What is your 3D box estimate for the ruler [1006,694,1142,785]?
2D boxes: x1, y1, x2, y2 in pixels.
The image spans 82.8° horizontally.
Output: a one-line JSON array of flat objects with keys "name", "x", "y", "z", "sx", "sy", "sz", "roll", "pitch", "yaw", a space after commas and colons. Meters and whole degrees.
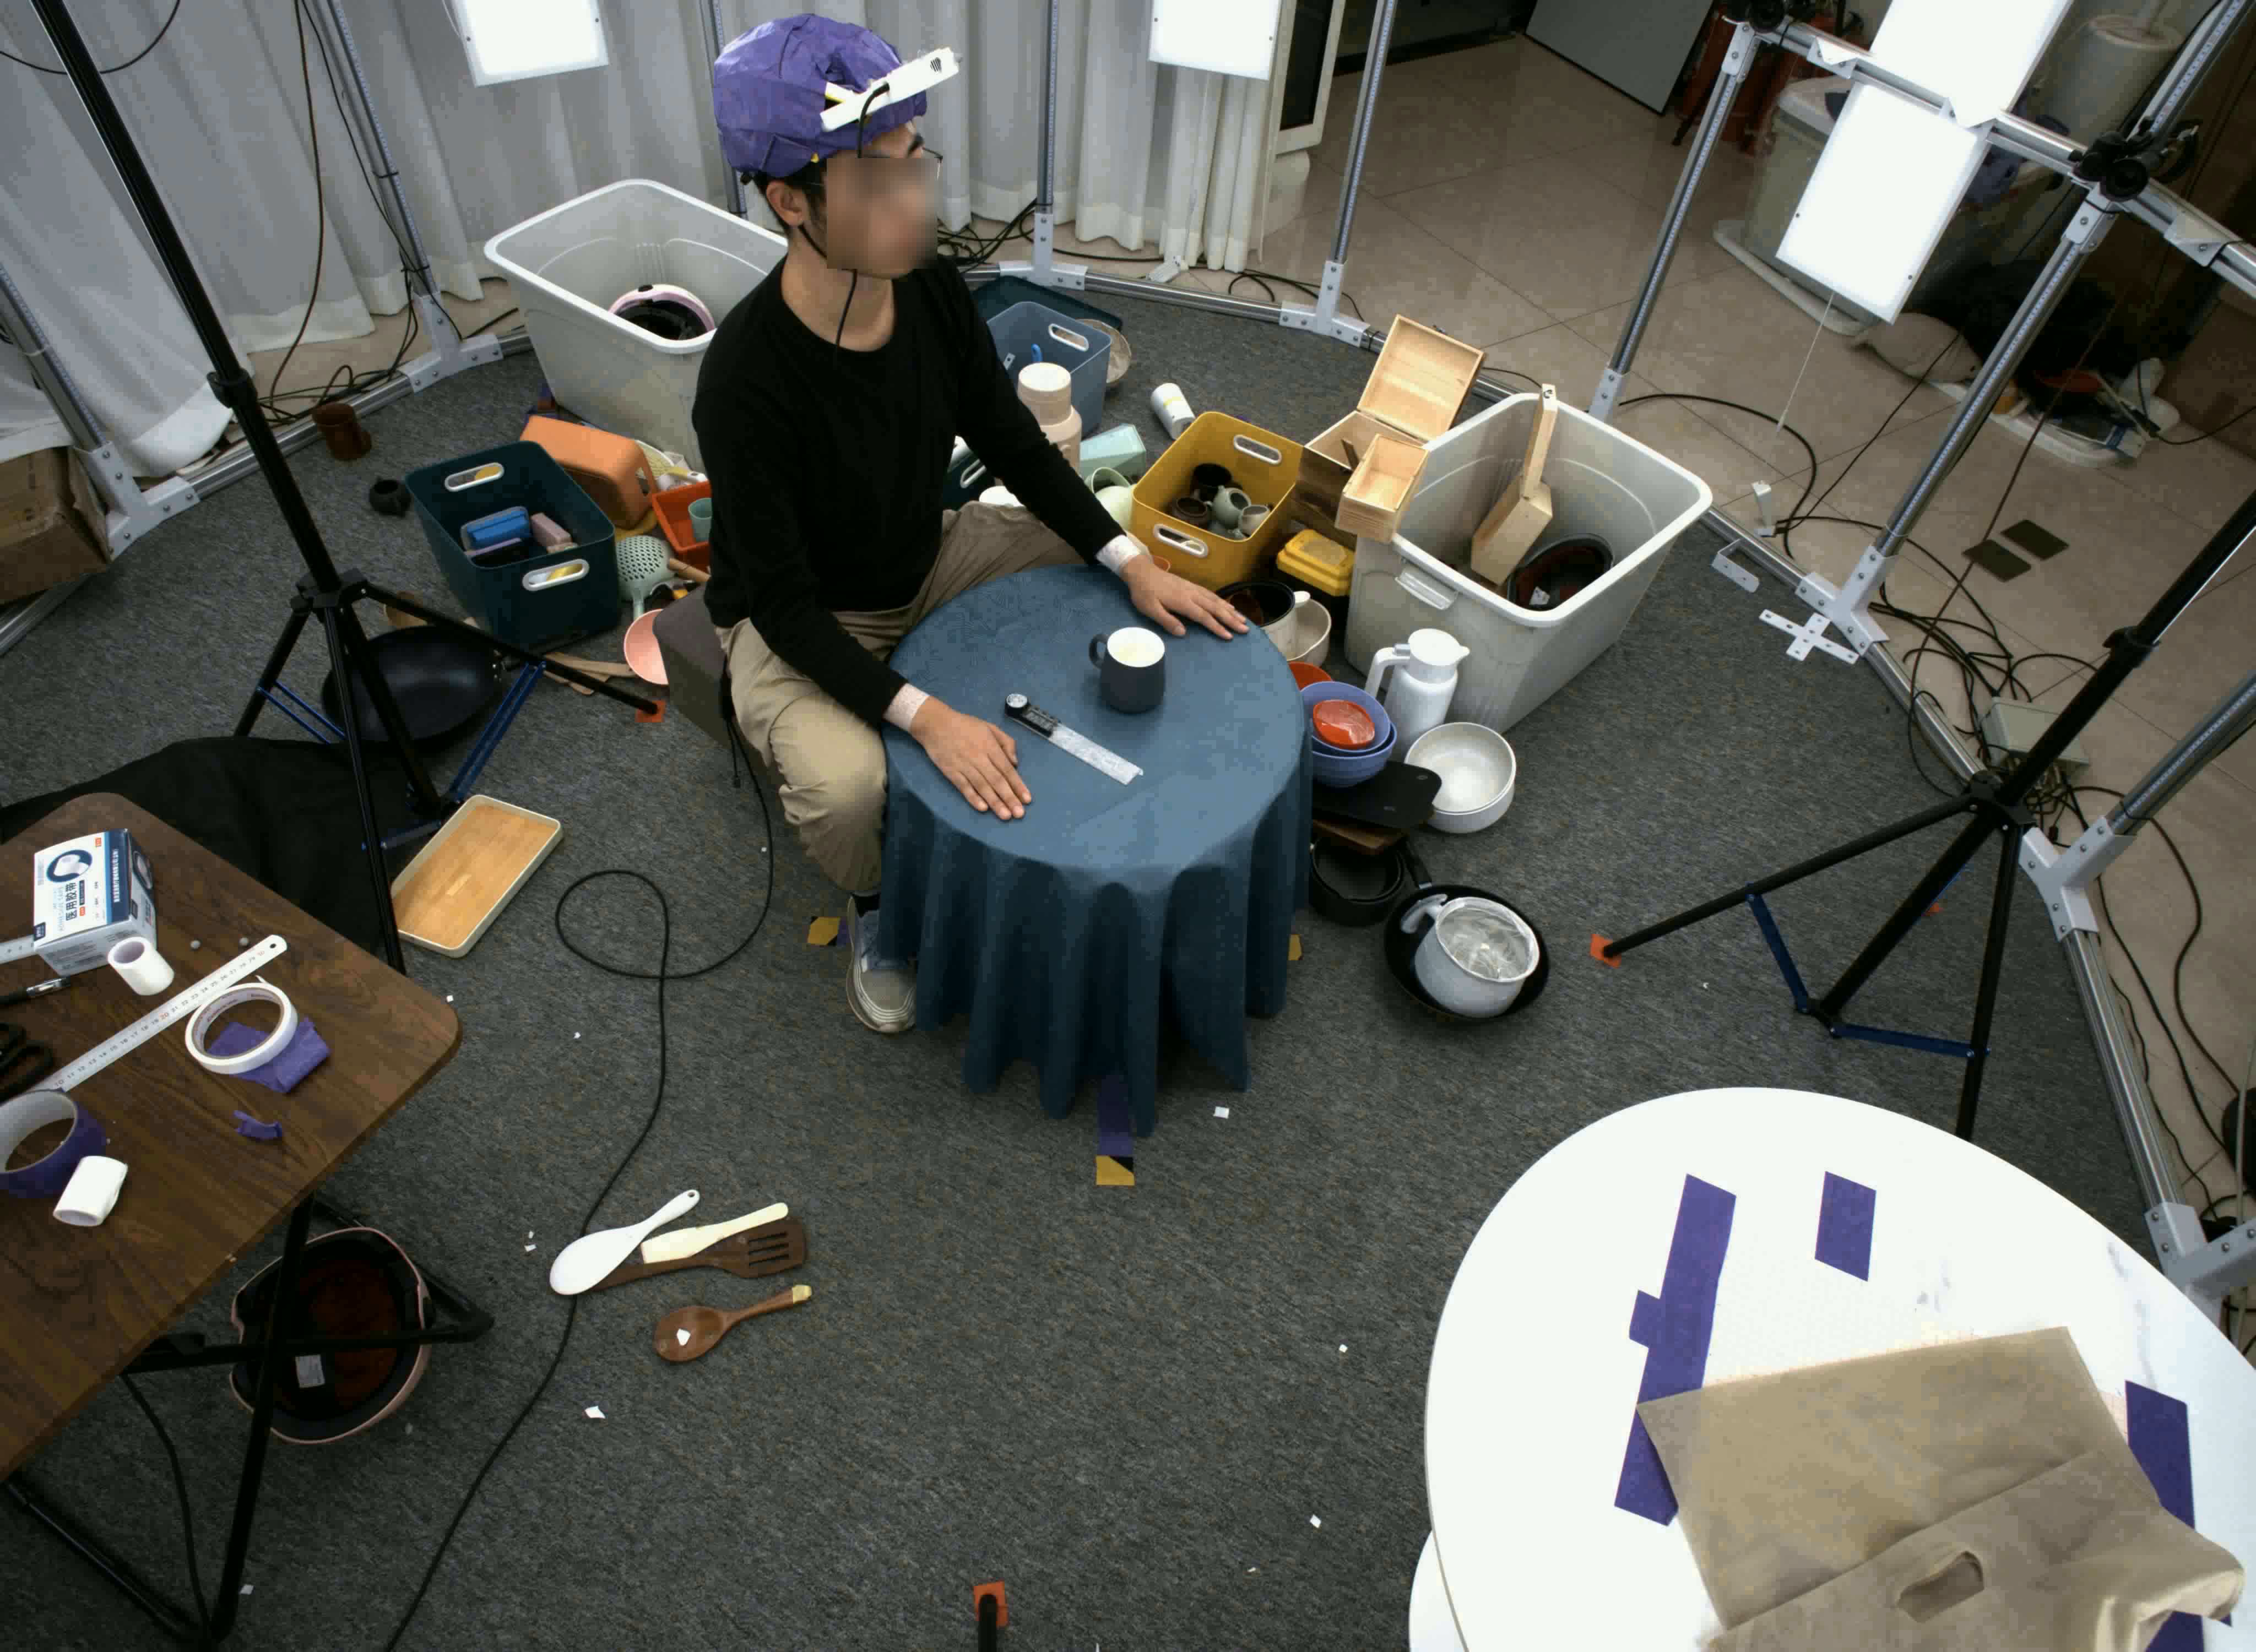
[{"name": "ruler", "x": -0.079, "y": -0.122, "z": 1.756, "sx": 0.220, "sy": 0.023, "sz": 0.039, "roll": 30, "pitch": 60, "yaw": 22}]

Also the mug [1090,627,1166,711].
[{"name": "mug", "x": -0.003, "y": -0.228, "z": 1.807, "sx": 0.125, "sy": 0.088, "sz": 0.094, "roll": 34, "pitch": 54, "yaw": 22}]
